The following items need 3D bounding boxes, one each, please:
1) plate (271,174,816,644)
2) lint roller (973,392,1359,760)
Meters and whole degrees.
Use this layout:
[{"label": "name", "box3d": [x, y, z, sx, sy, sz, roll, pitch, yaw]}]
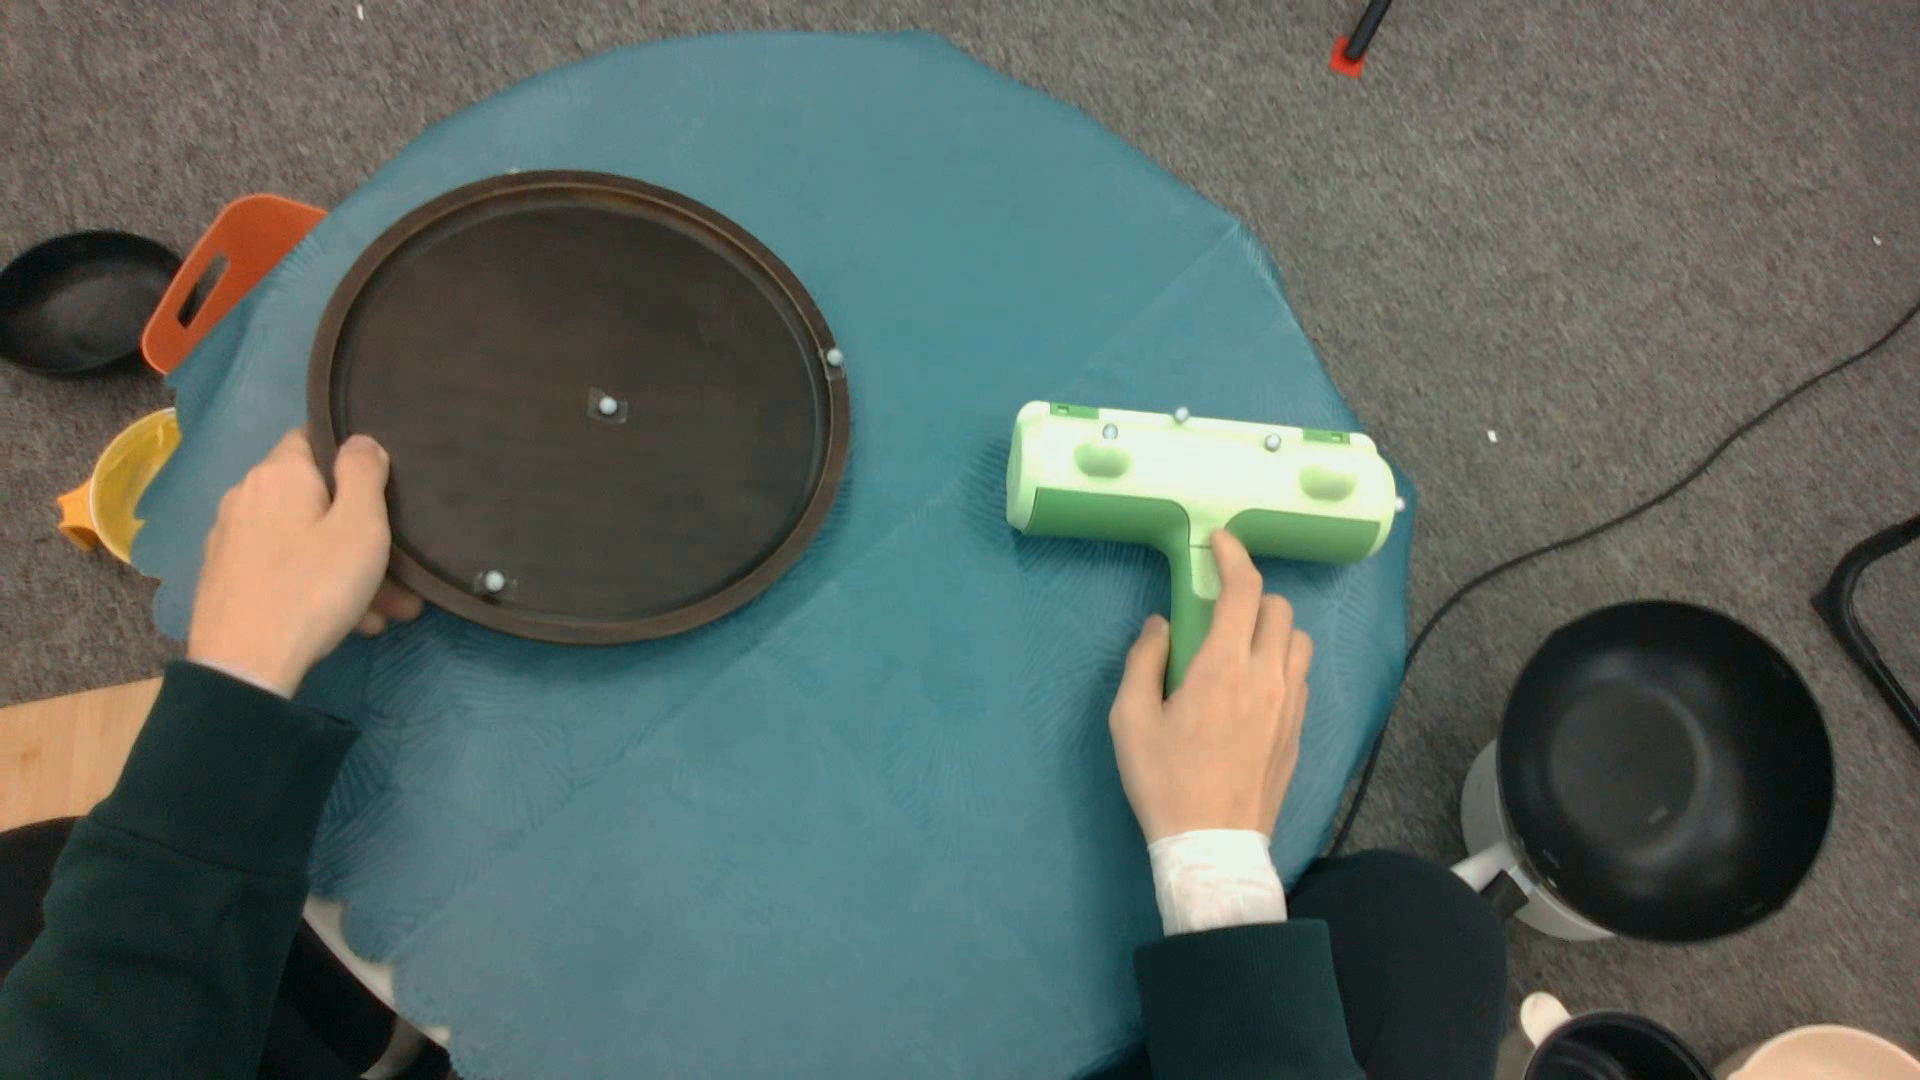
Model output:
[{"label": "plate", "box3d": [-0.196, -0.069, 0.673, 0.255, 0.029, 0.255, 8, 65, -17]}, {"label": "lint roller", "box3d": [0.108, 0.010, 0.678, 0.199, 0.082, 0.184, 5, 58, -9]}]
